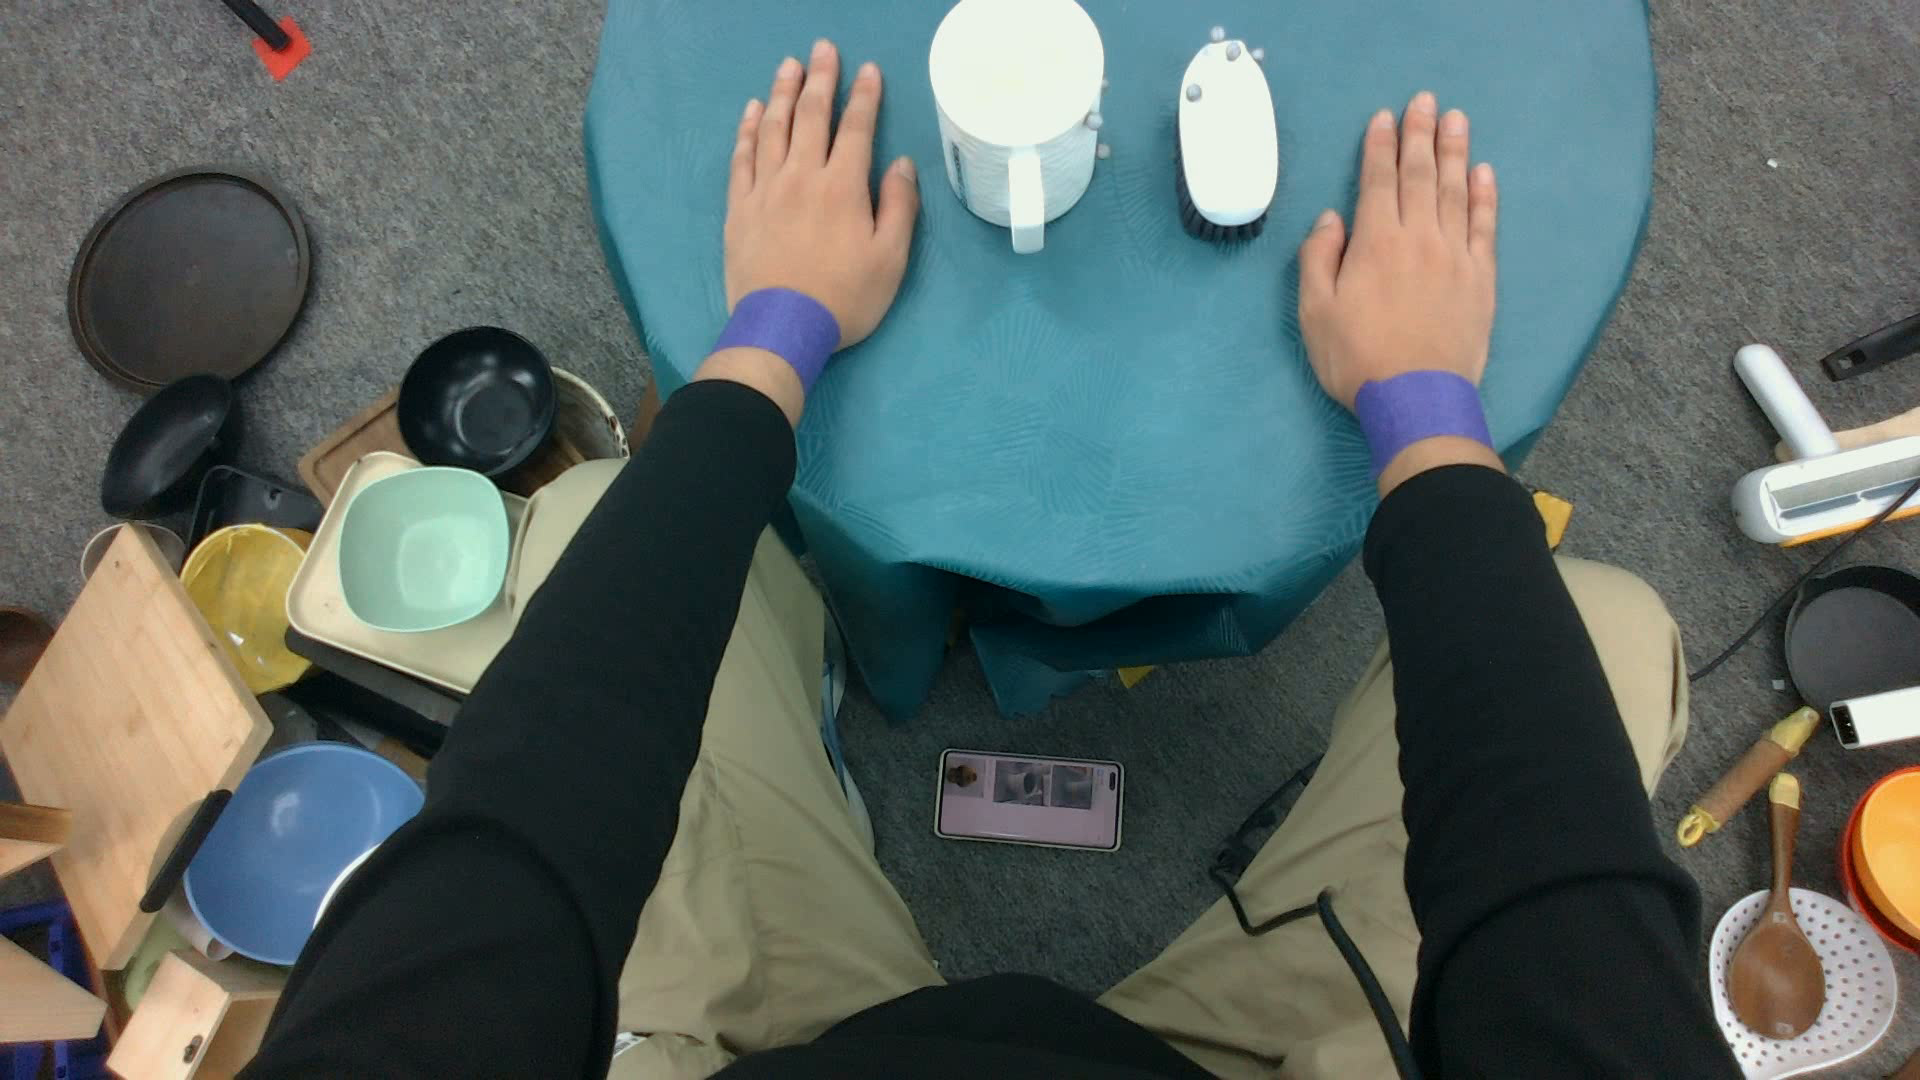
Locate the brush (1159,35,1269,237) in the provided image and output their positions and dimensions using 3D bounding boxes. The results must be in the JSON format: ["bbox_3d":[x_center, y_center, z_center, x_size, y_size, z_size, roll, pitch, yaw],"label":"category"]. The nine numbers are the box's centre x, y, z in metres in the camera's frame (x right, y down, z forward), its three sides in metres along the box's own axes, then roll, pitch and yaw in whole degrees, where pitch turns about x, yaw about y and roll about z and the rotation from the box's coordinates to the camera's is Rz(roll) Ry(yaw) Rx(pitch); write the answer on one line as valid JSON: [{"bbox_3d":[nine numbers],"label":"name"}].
[{"bbox_3d":[0.136,-0.221,0.732,0.050,0.072,0.099,-11,74,4],"label":"brush"}]

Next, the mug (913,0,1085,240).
[{"bbox_3d":[0.023,-0.214,0.720,0.085,0.102,0.118,-6,77,1],"label":"mug"}]
